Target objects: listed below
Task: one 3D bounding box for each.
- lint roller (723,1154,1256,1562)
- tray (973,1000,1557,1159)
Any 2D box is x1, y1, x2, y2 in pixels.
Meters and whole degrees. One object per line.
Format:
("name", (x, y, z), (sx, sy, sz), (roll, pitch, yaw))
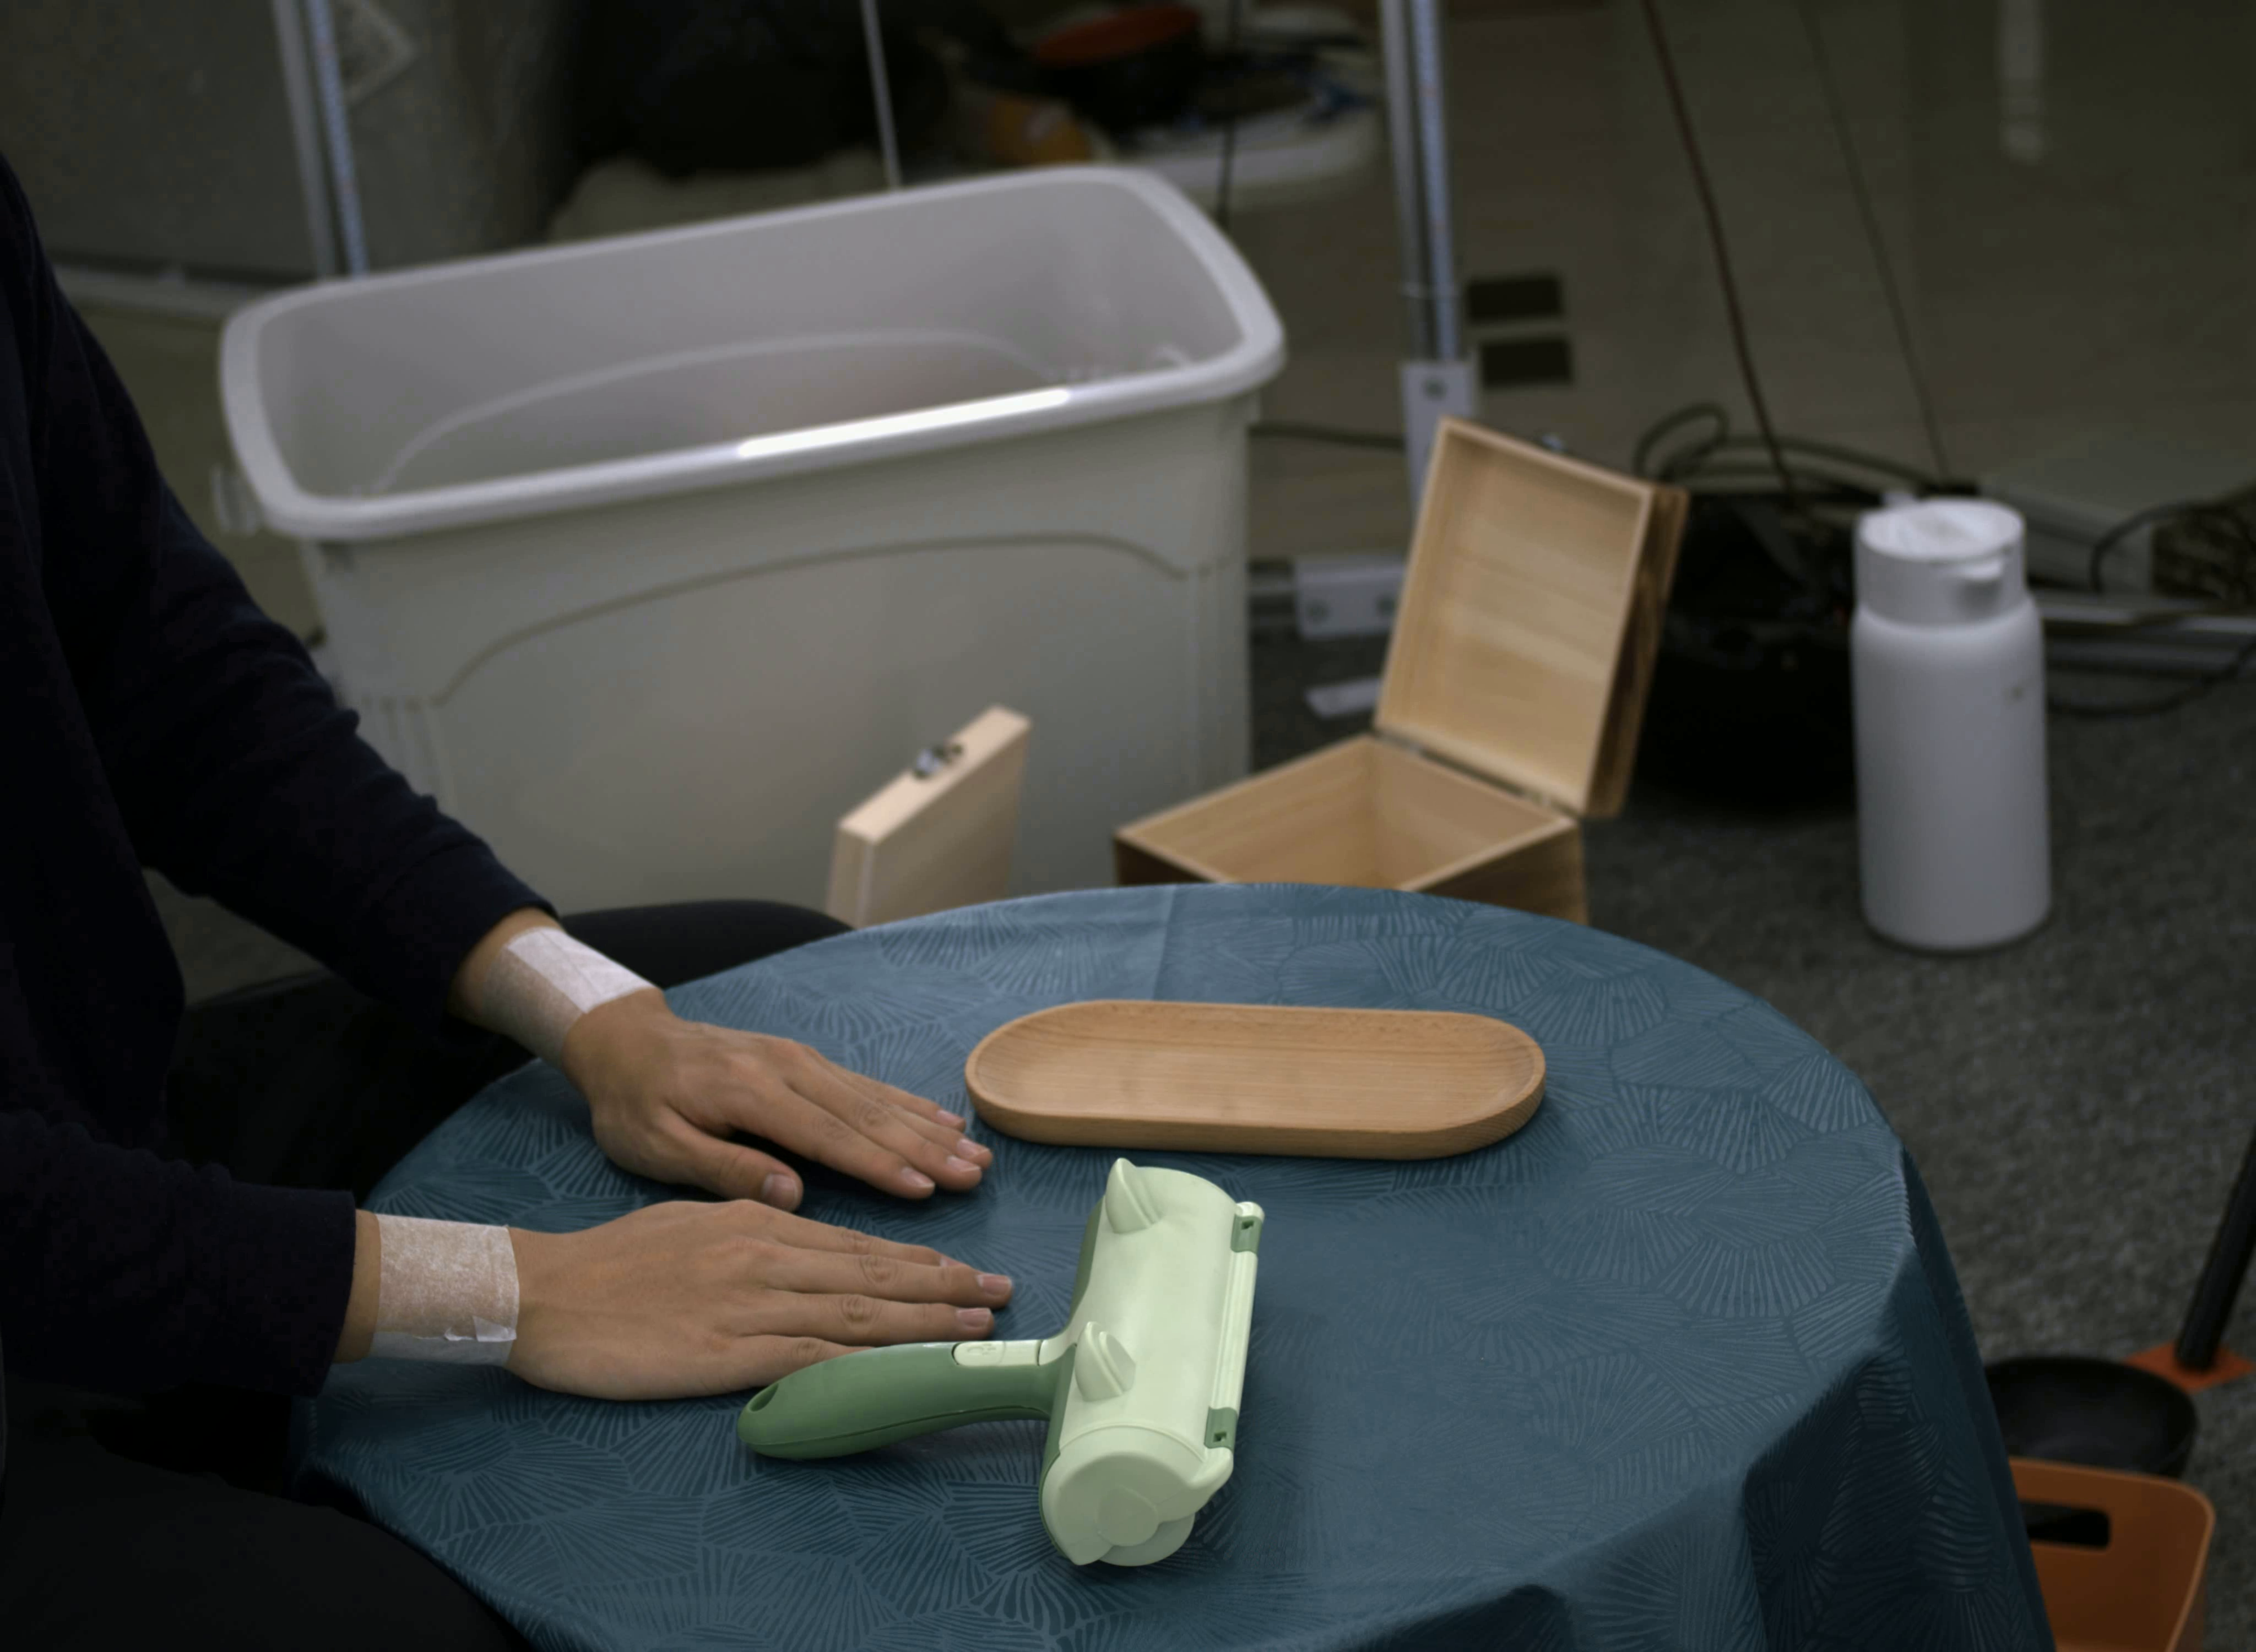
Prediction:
("lint roller", (-0.051, 0.177, 1.973), (0.183, 0.083, 0.196), (2, 25, 4))
("tray", (0.052, 0.099, 2.201), (0.230, 0.020, 0.100), (3, 27, 16))
